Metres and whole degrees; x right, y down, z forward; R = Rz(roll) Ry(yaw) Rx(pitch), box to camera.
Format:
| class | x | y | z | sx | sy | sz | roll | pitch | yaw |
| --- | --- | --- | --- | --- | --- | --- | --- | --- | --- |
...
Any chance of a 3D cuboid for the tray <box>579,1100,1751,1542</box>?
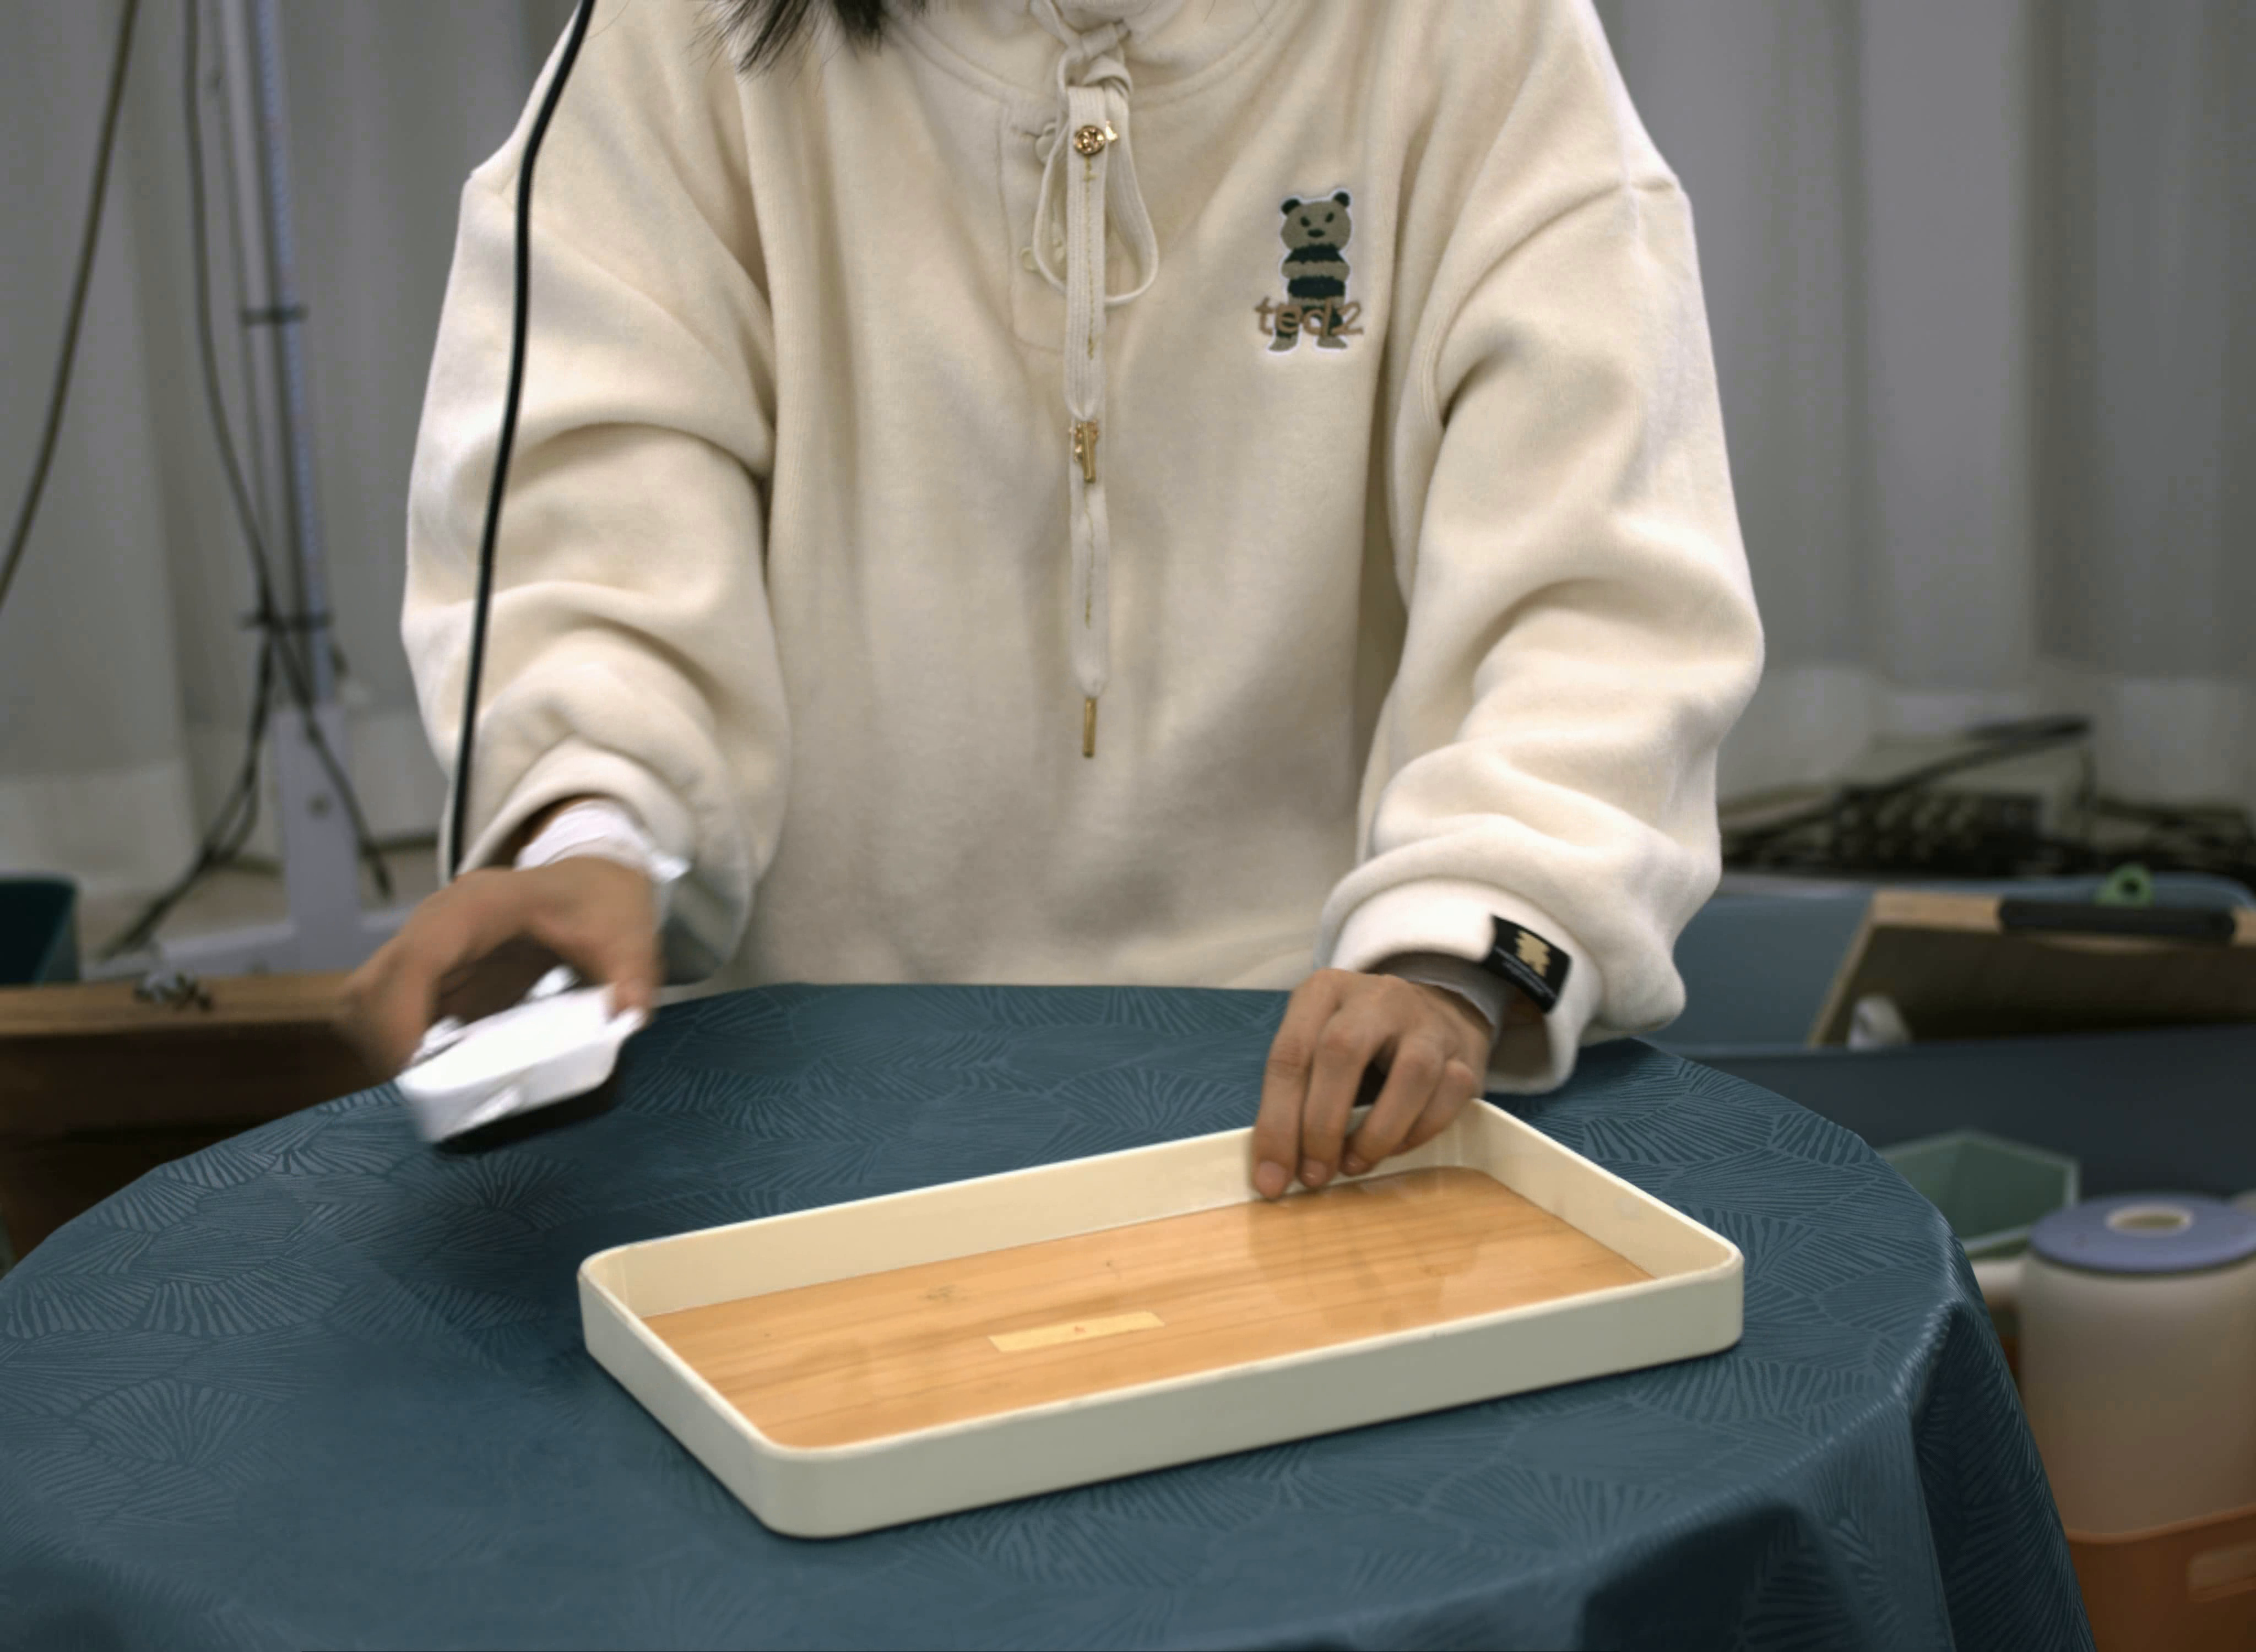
| class | x | y | z | sx | sy | sz | roll | pitch | yaw |
| --- | --- | --- | --- | --- | --- | --- | --- | --- | --- |
| tray | 0.009 | 0.138 | 1.572 | 0.299 | 0.027 | 0.193 | -9 | 16 | -21 |

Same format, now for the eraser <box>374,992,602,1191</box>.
| class | x | y | z | sx | sy | sz | roll | pitch | yaw |
| --- | --- | --- | --- | --- | --- | --- | --- | --- | --- |
| eraser | -0.190 | 0.078 | 1.655 | 0.063 | 0.034 | 0.132 | -16 | 7 | 0 |
